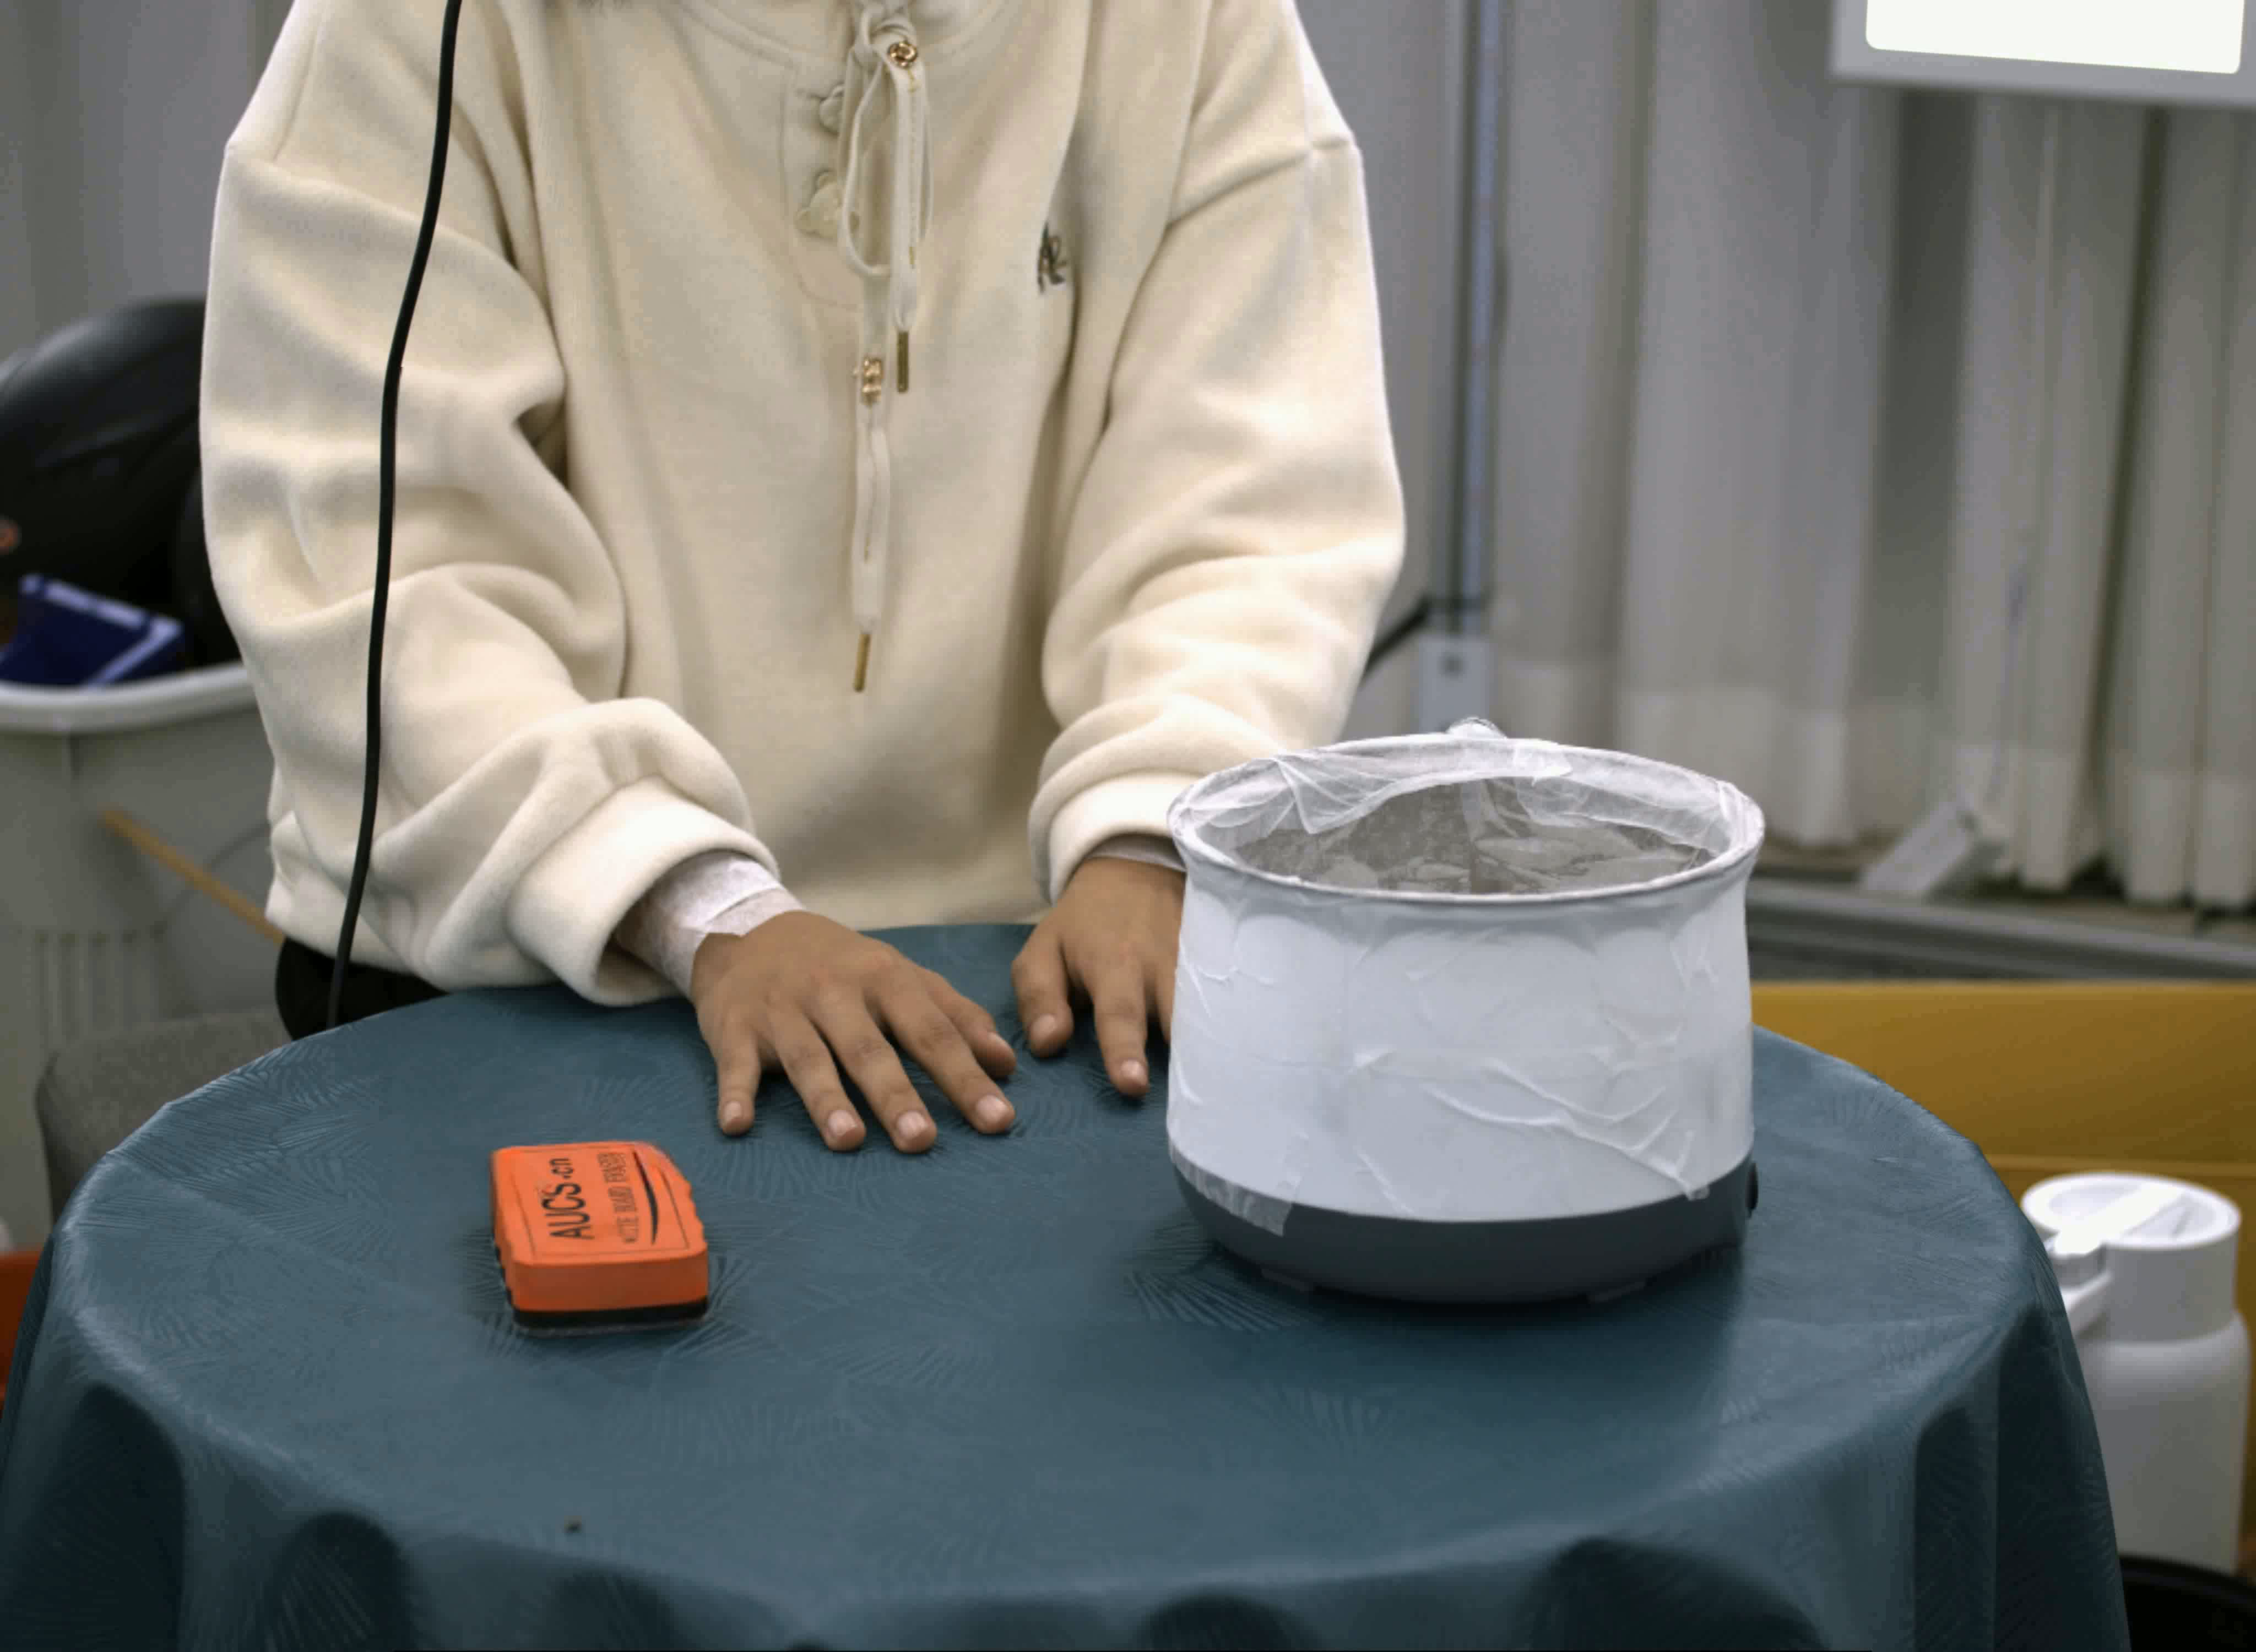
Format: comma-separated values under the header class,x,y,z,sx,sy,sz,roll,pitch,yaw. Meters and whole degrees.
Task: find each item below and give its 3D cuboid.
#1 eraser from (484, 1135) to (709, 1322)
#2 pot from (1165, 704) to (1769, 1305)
class,x,y,z,sx,sy,sz,roll,pitch,yaw
eraser,-0.157,0.117,1.543,0.059,0.023,0.107,-2,14,-11
pot,0.101,0.048,1.591,0.178,0.138,0.232,1,17,3
